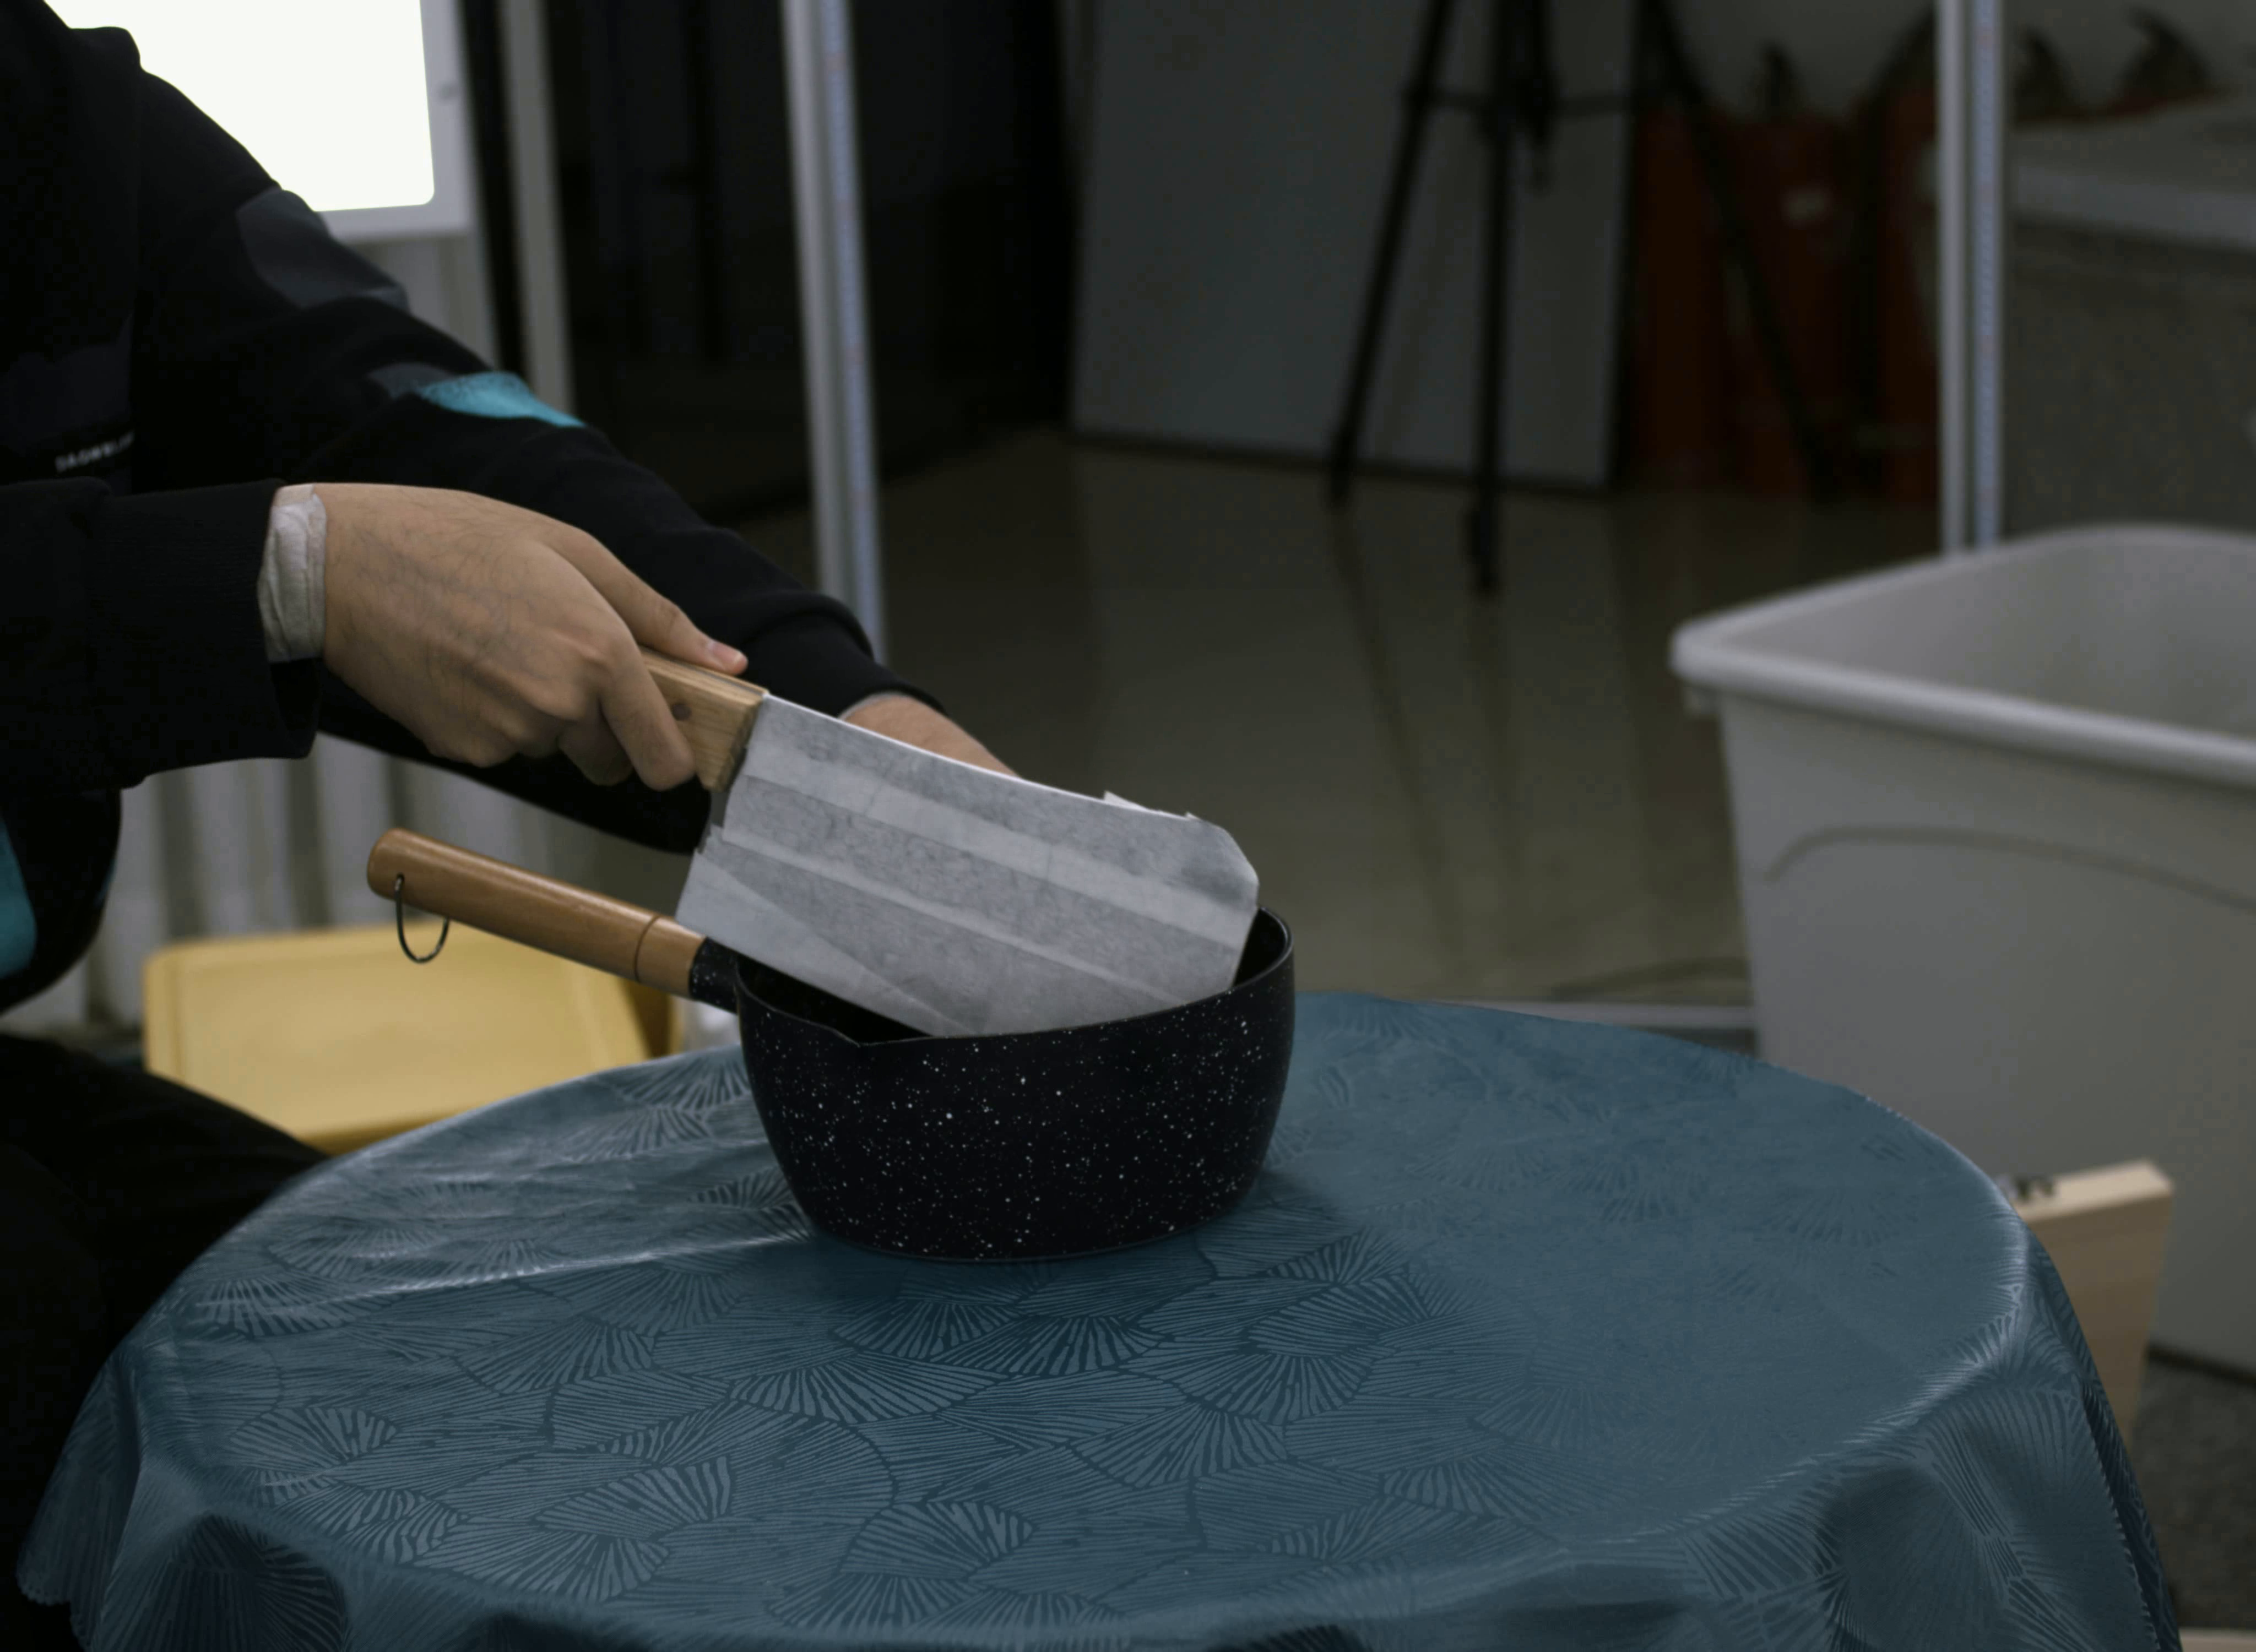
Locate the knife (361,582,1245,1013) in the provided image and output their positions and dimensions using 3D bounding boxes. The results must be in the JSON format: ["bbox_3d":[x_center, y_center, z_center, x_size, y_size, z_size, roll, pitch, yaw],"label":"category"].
[{"bbox_3d":[-0.105,-0.006,1.746,0.314,0.115,0.021,24,17,8],"label":"knife"}]

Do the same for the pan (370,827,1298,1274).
[{"bbox_3d":[-0.106,0.066,1.798,0.343,0.109,0.205,4,17,26],"label":"pan"}]
